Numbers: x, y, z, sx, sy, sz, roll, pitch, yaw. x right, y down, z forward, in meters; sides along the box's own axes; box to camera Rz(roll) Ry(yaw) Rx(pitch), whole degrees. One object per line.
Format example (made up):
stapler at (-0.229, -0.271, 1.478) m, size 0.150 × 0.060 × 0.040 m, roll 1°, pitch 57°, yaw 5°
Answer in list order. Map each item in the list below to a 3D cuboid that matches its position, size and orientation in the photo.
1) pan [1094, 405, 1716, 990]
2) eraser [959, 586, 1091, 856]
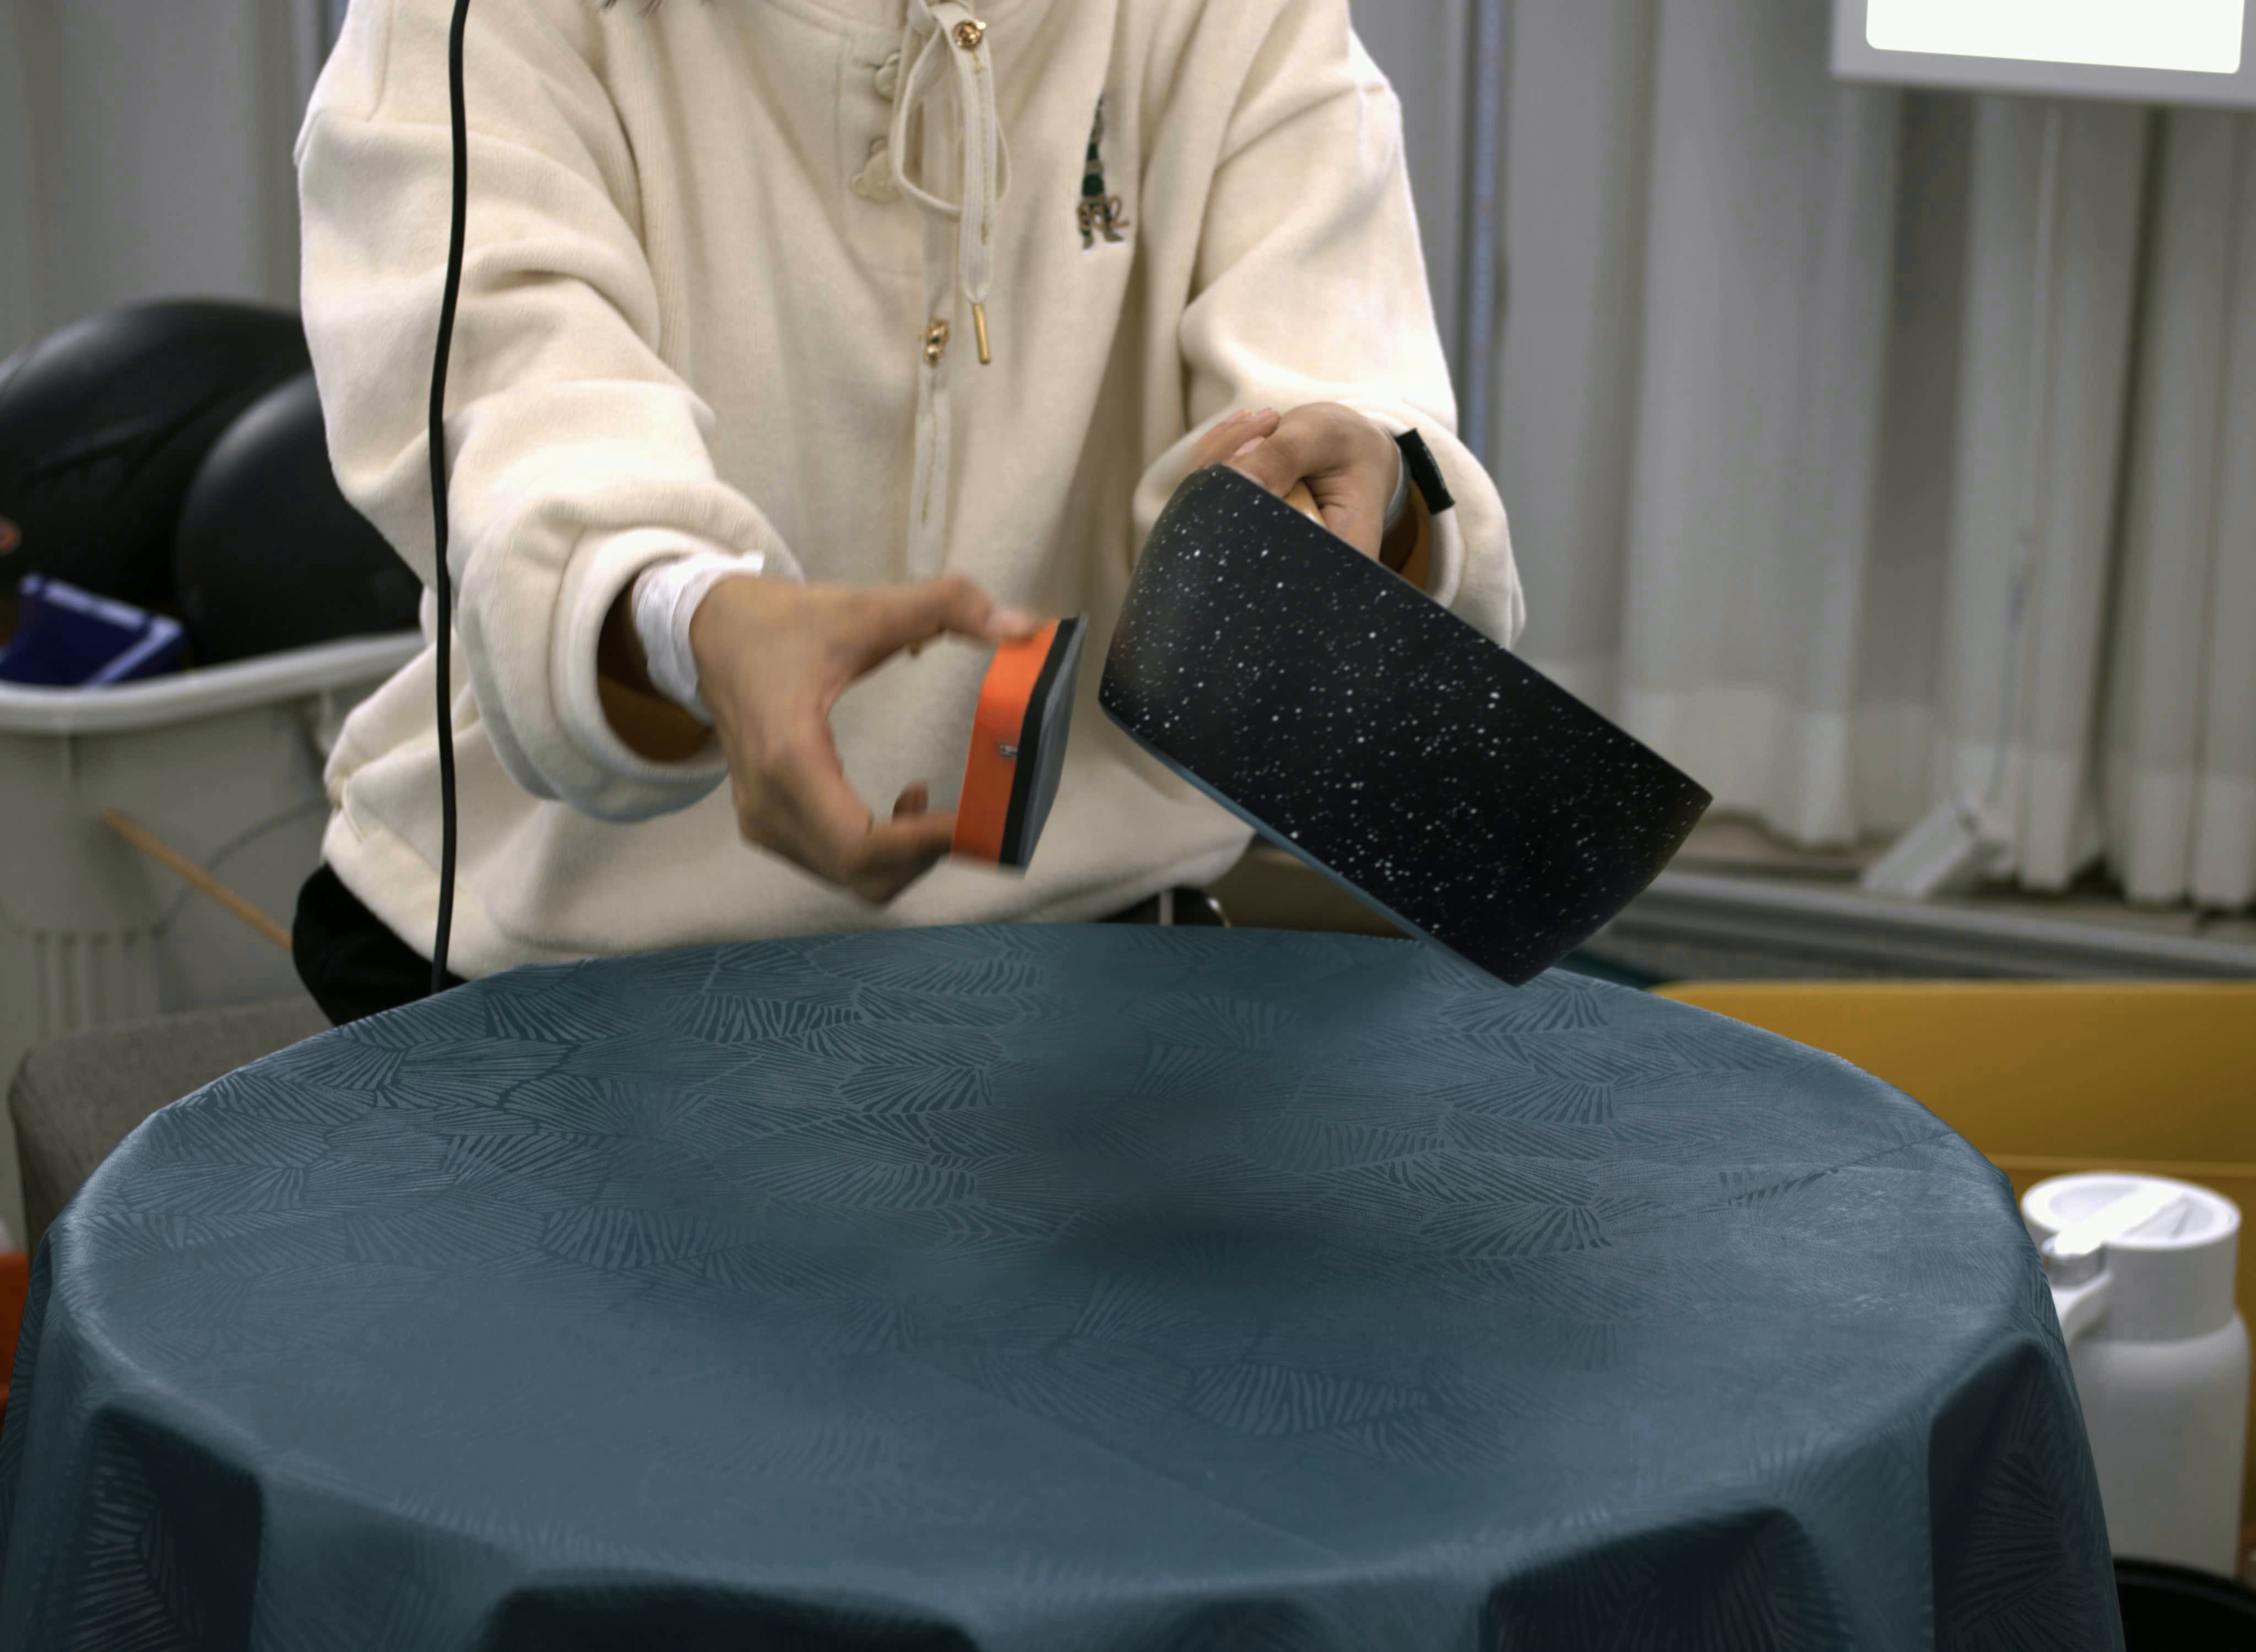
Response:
pan at (0.059, -0.056, 1.642) m, size 0.209 × 0.108 × 0.339 m, roll 33°, pitch 5°, yaw -22°
eraser at (-0.031, -0.033, 1.577) m, size 0.023 × 0.059 × 0.107 m, roll 9°, pitch 17°, yaw 3°
